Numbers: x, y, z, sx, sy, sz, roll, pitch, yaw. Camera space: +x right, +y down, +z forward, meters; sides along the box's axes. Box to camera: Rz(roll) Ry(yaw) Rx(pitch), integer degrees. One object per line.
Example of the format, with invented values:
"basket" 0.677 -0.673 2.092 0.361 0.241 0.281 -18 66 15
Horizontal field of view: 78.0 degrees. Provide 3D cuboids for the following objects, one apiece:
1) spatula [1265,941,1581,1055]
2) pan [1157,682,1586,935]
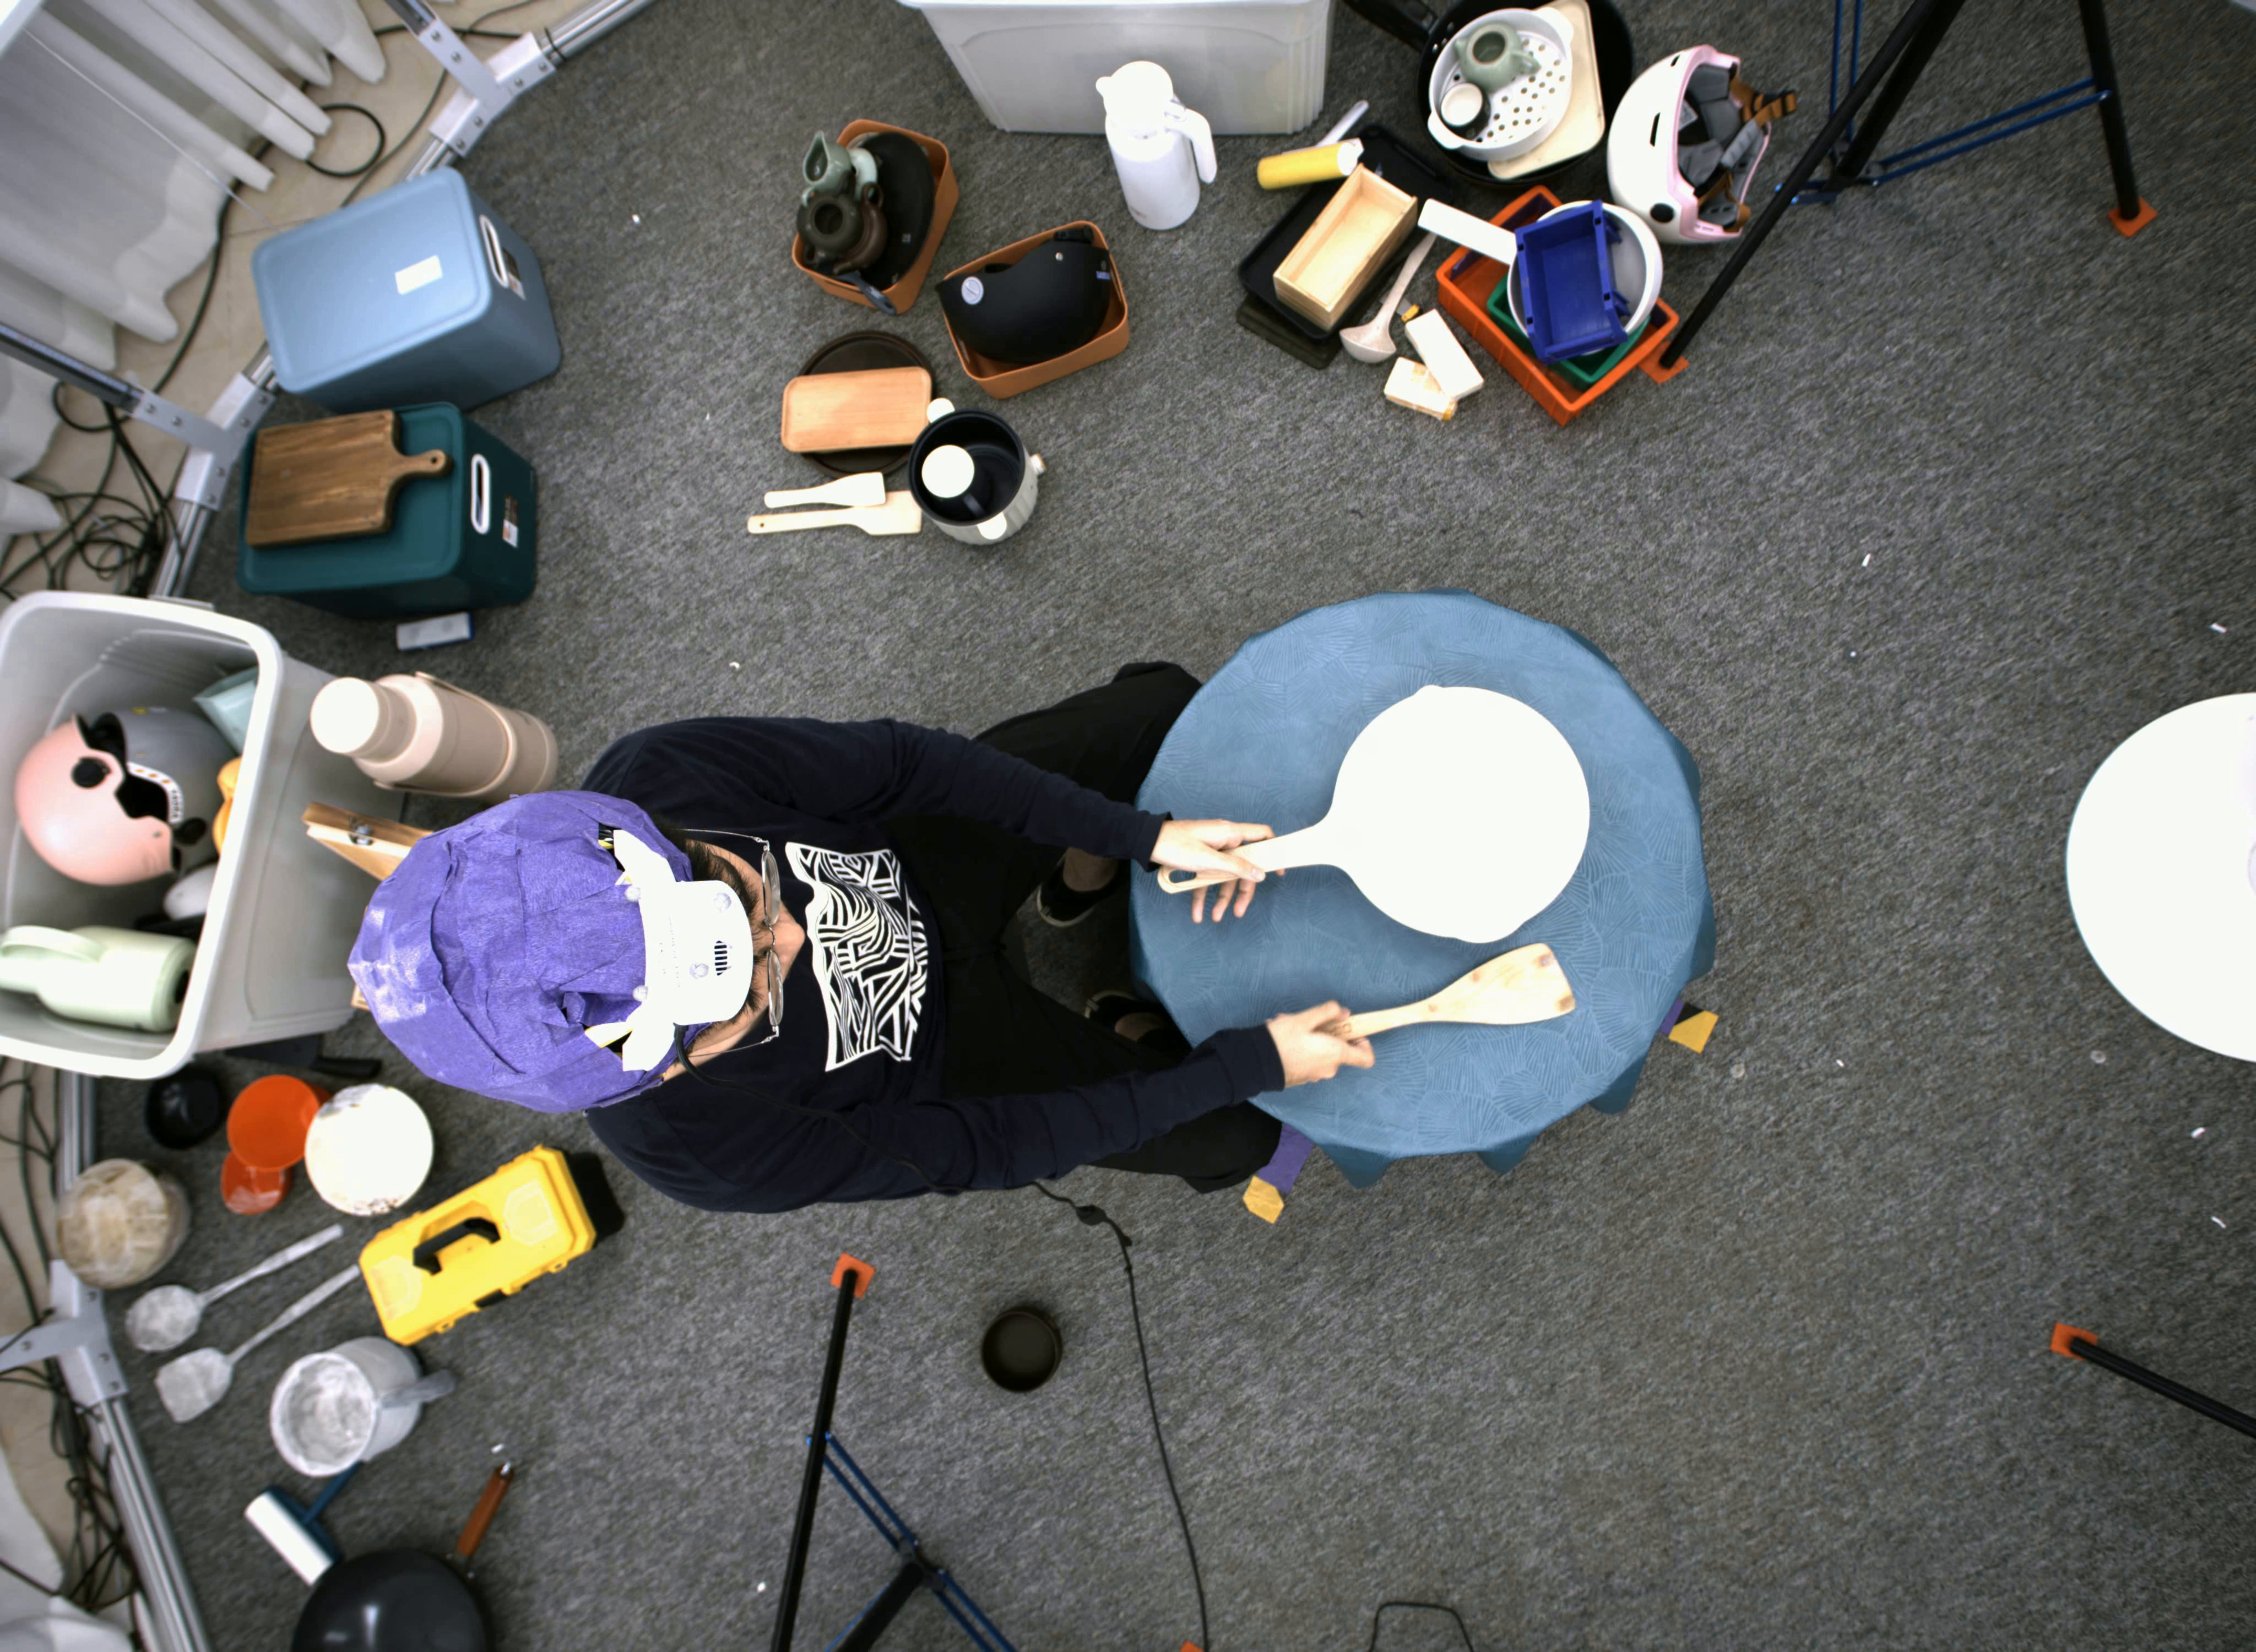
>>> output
"spatula" 0.300 0.186 1.419 0.327 0.016 0.079 -12 84 -2
"pan" 0.245 0.005 1.419 0.437 0.102 0.262 -15 84 10
